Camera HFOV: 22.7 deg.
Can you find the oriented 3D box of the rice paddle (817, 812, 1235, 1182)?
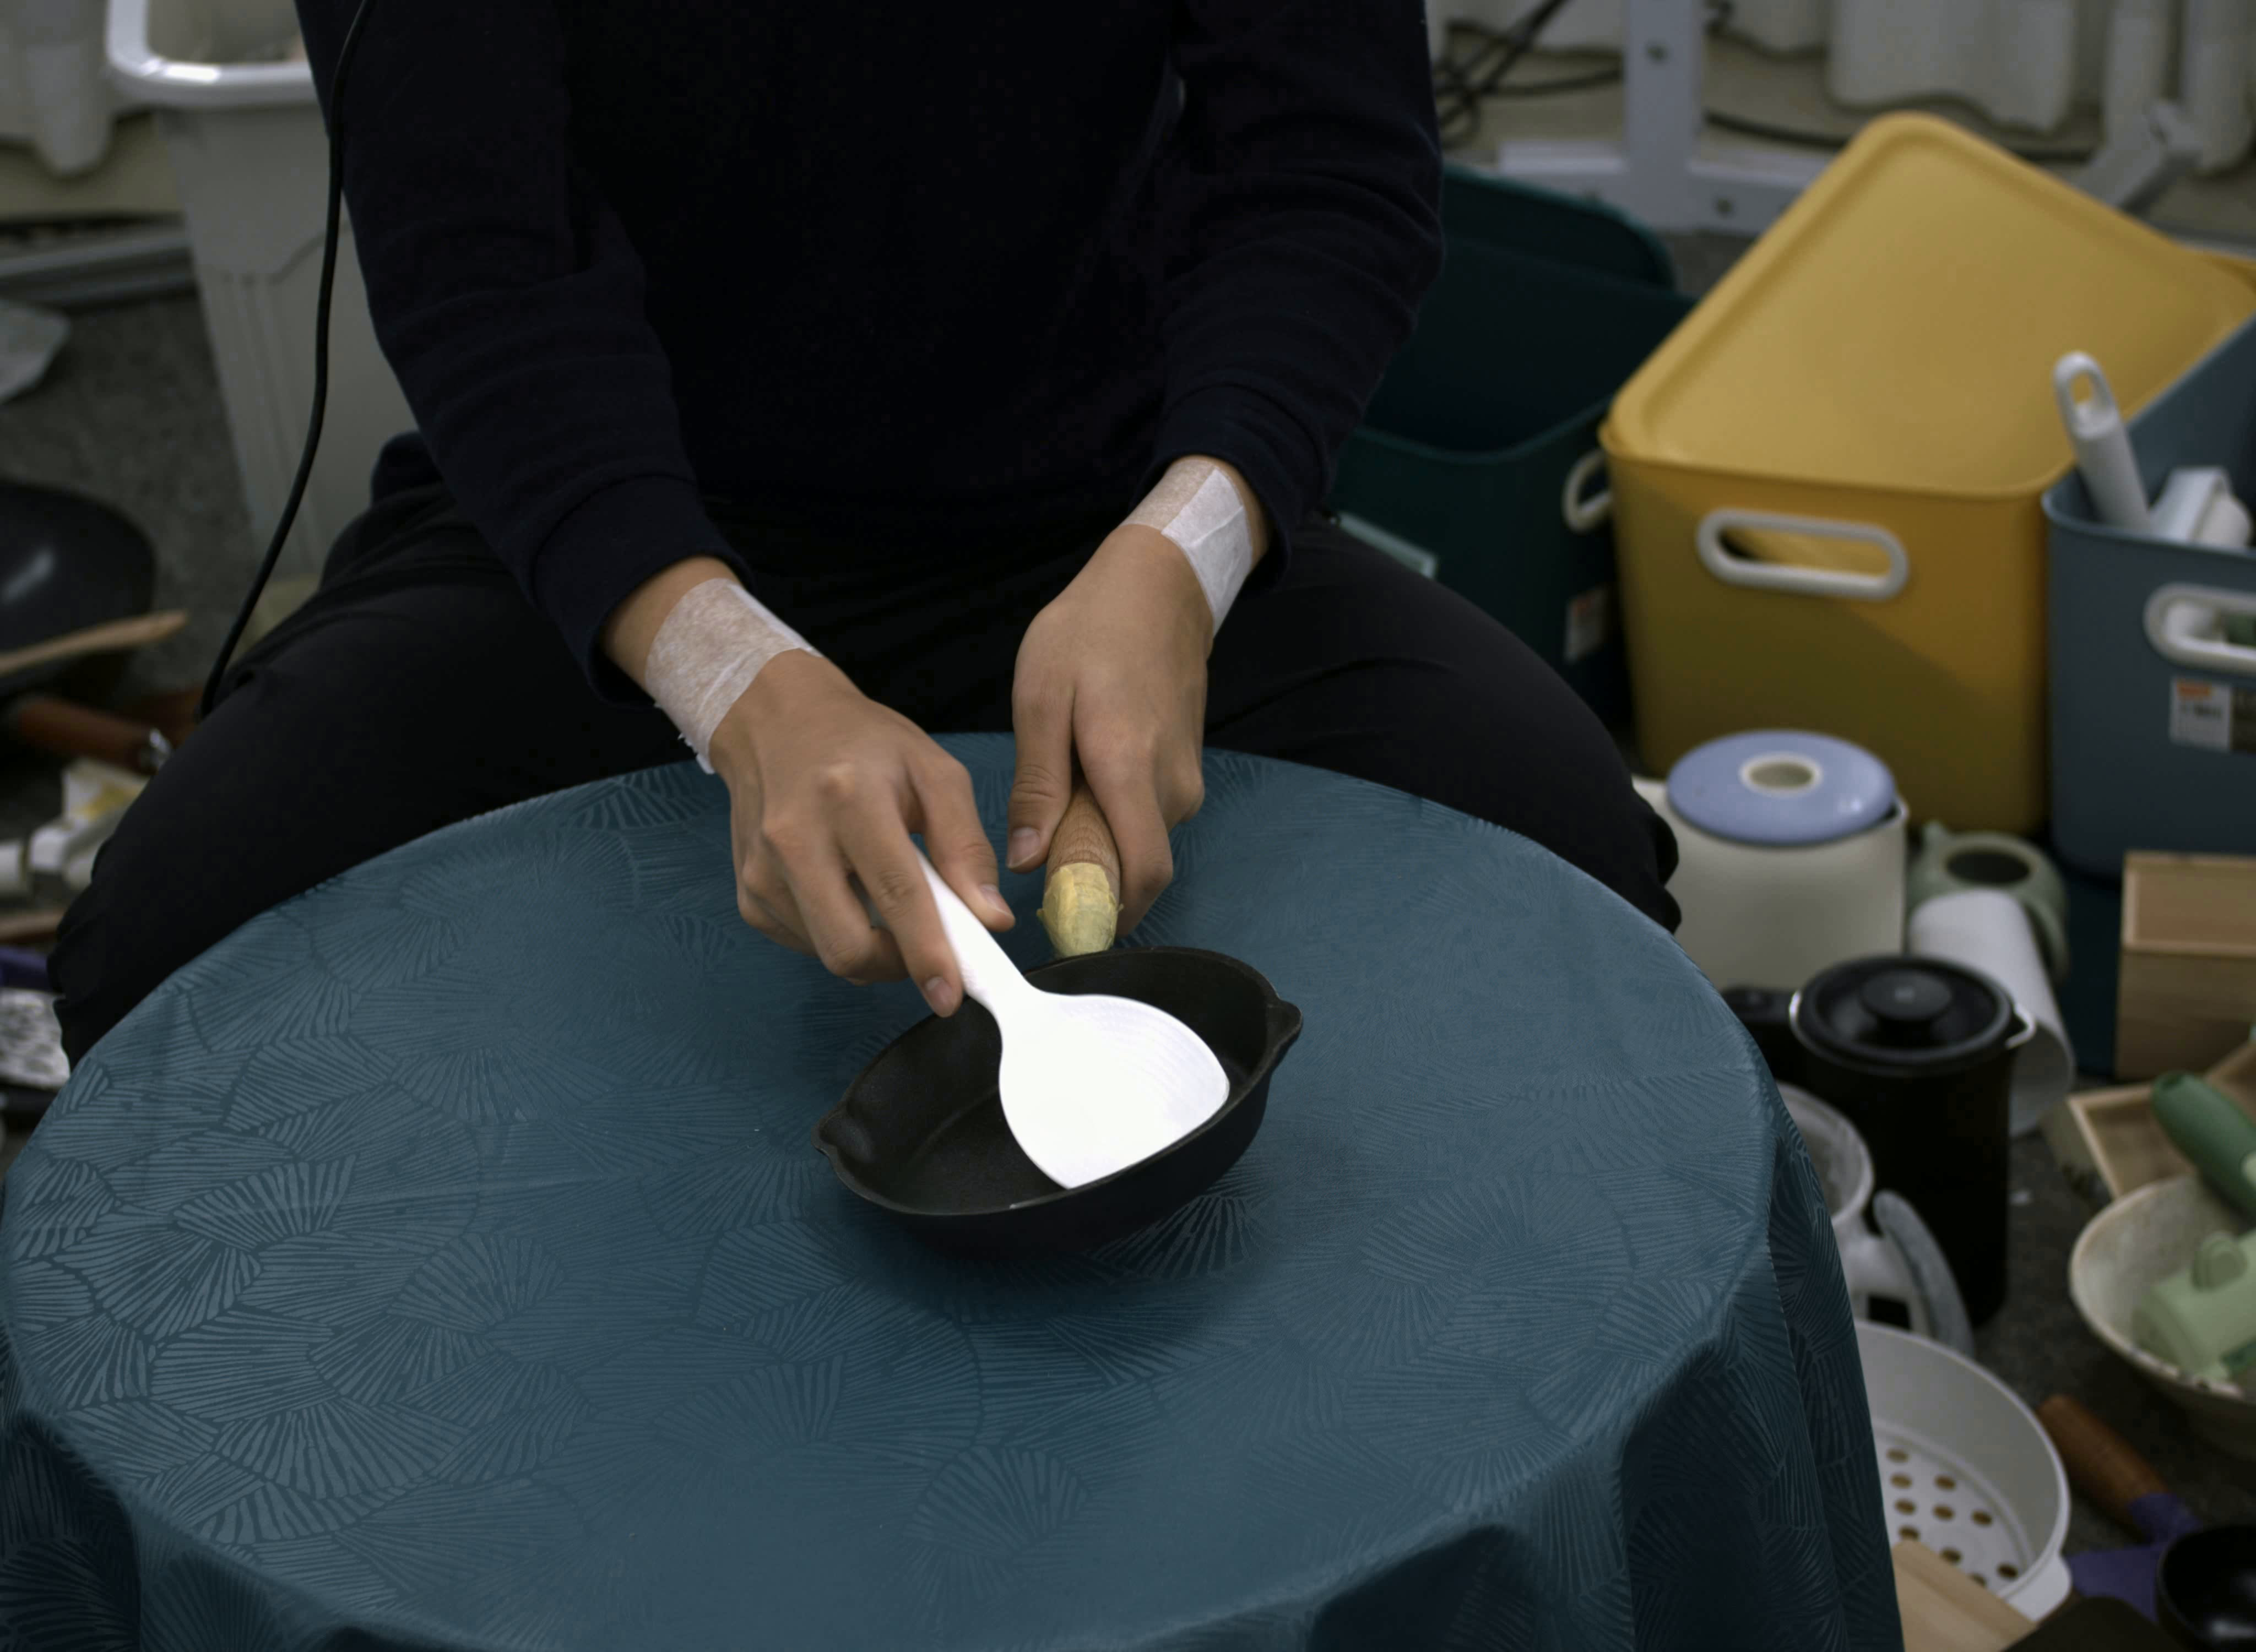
[{"bbox_3d":[-0.036,0.059,1.874,0.069,0.029,0.206,-37,49,-14],"label":"rice paddle"}]

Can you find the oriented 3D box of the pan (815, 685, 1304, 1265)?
[{"bbox_3d":[-0.015,0.048,1.922,0.167,0.049,0.330,-12,28,11],"label":"pan"}]
